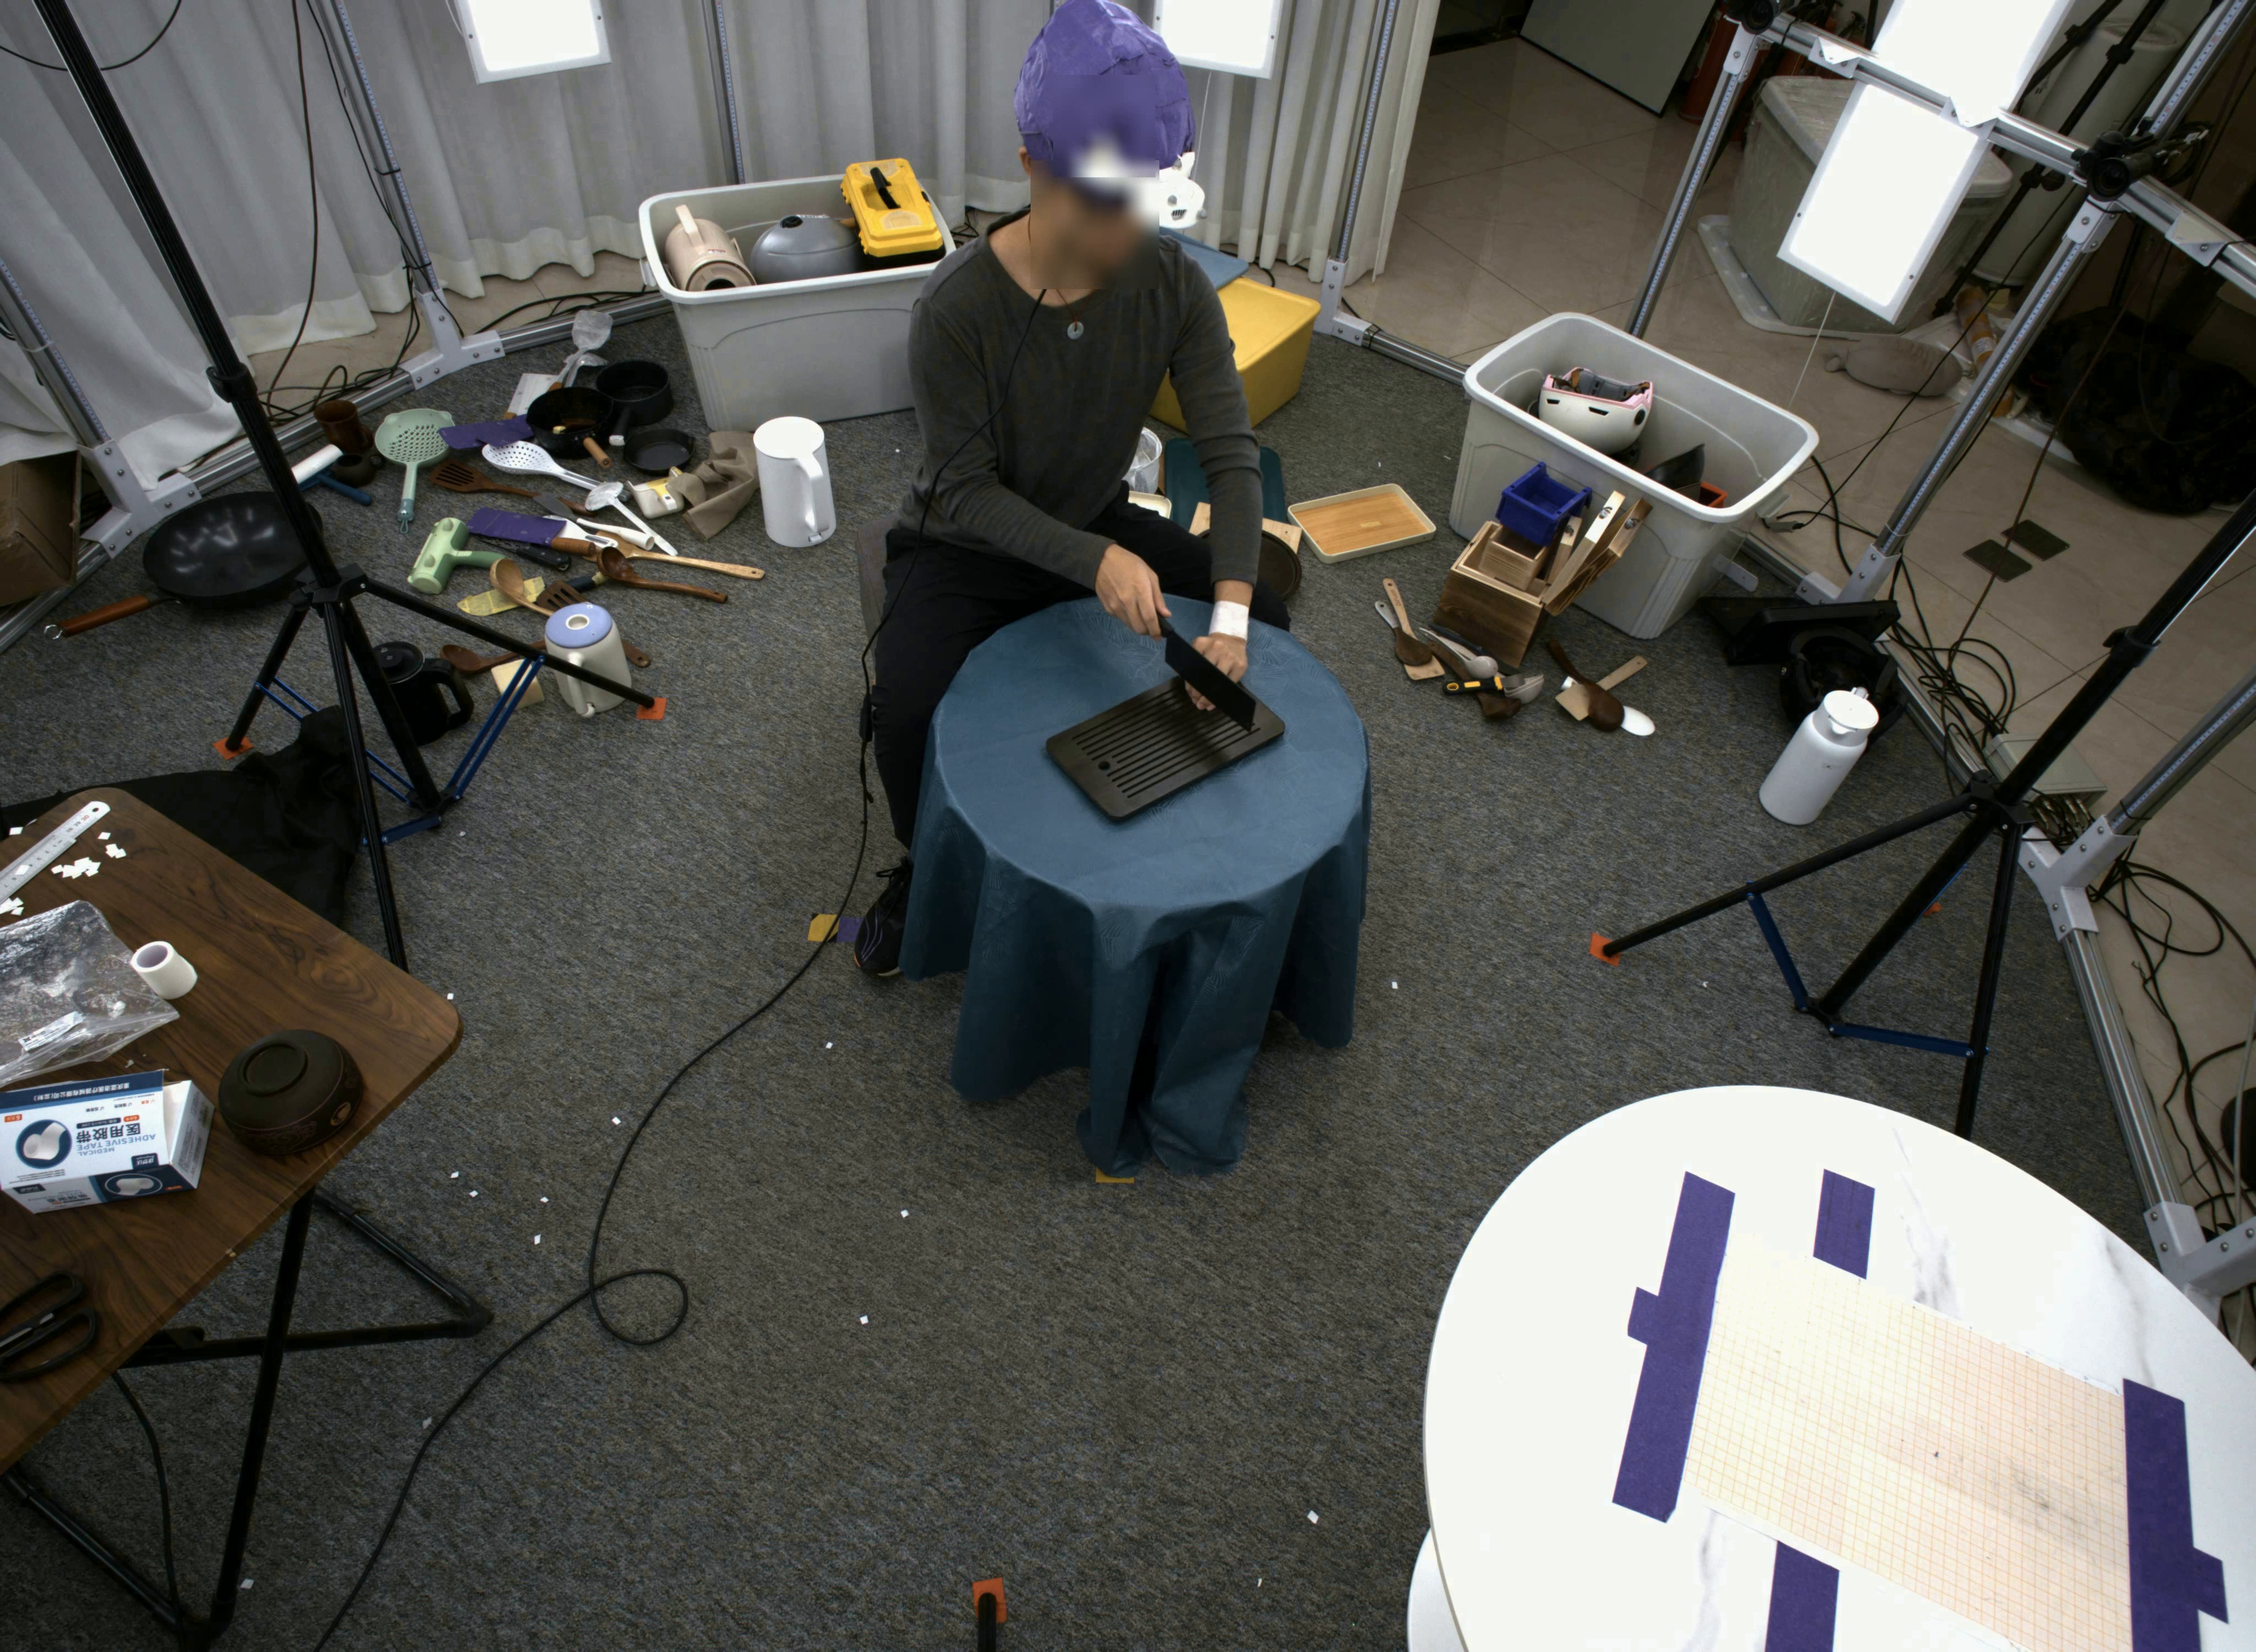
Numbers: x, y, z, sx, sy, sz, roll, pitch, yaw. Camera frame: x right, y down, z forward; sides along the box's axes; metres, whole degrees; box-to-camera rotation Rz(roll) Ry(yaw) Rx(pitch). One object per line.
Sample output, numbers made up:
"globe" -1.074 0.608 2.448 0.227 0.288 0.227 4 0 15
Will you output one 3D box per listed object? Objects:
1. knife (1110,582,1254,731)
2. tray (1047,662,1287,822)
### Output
"knife" 0.072 -0.239 1.759 0.021 0.079 0.308 -27 59 -26
"tray" 0.055 -0.119 1.762 0.307 0.018 0.173 -27 55 -25
